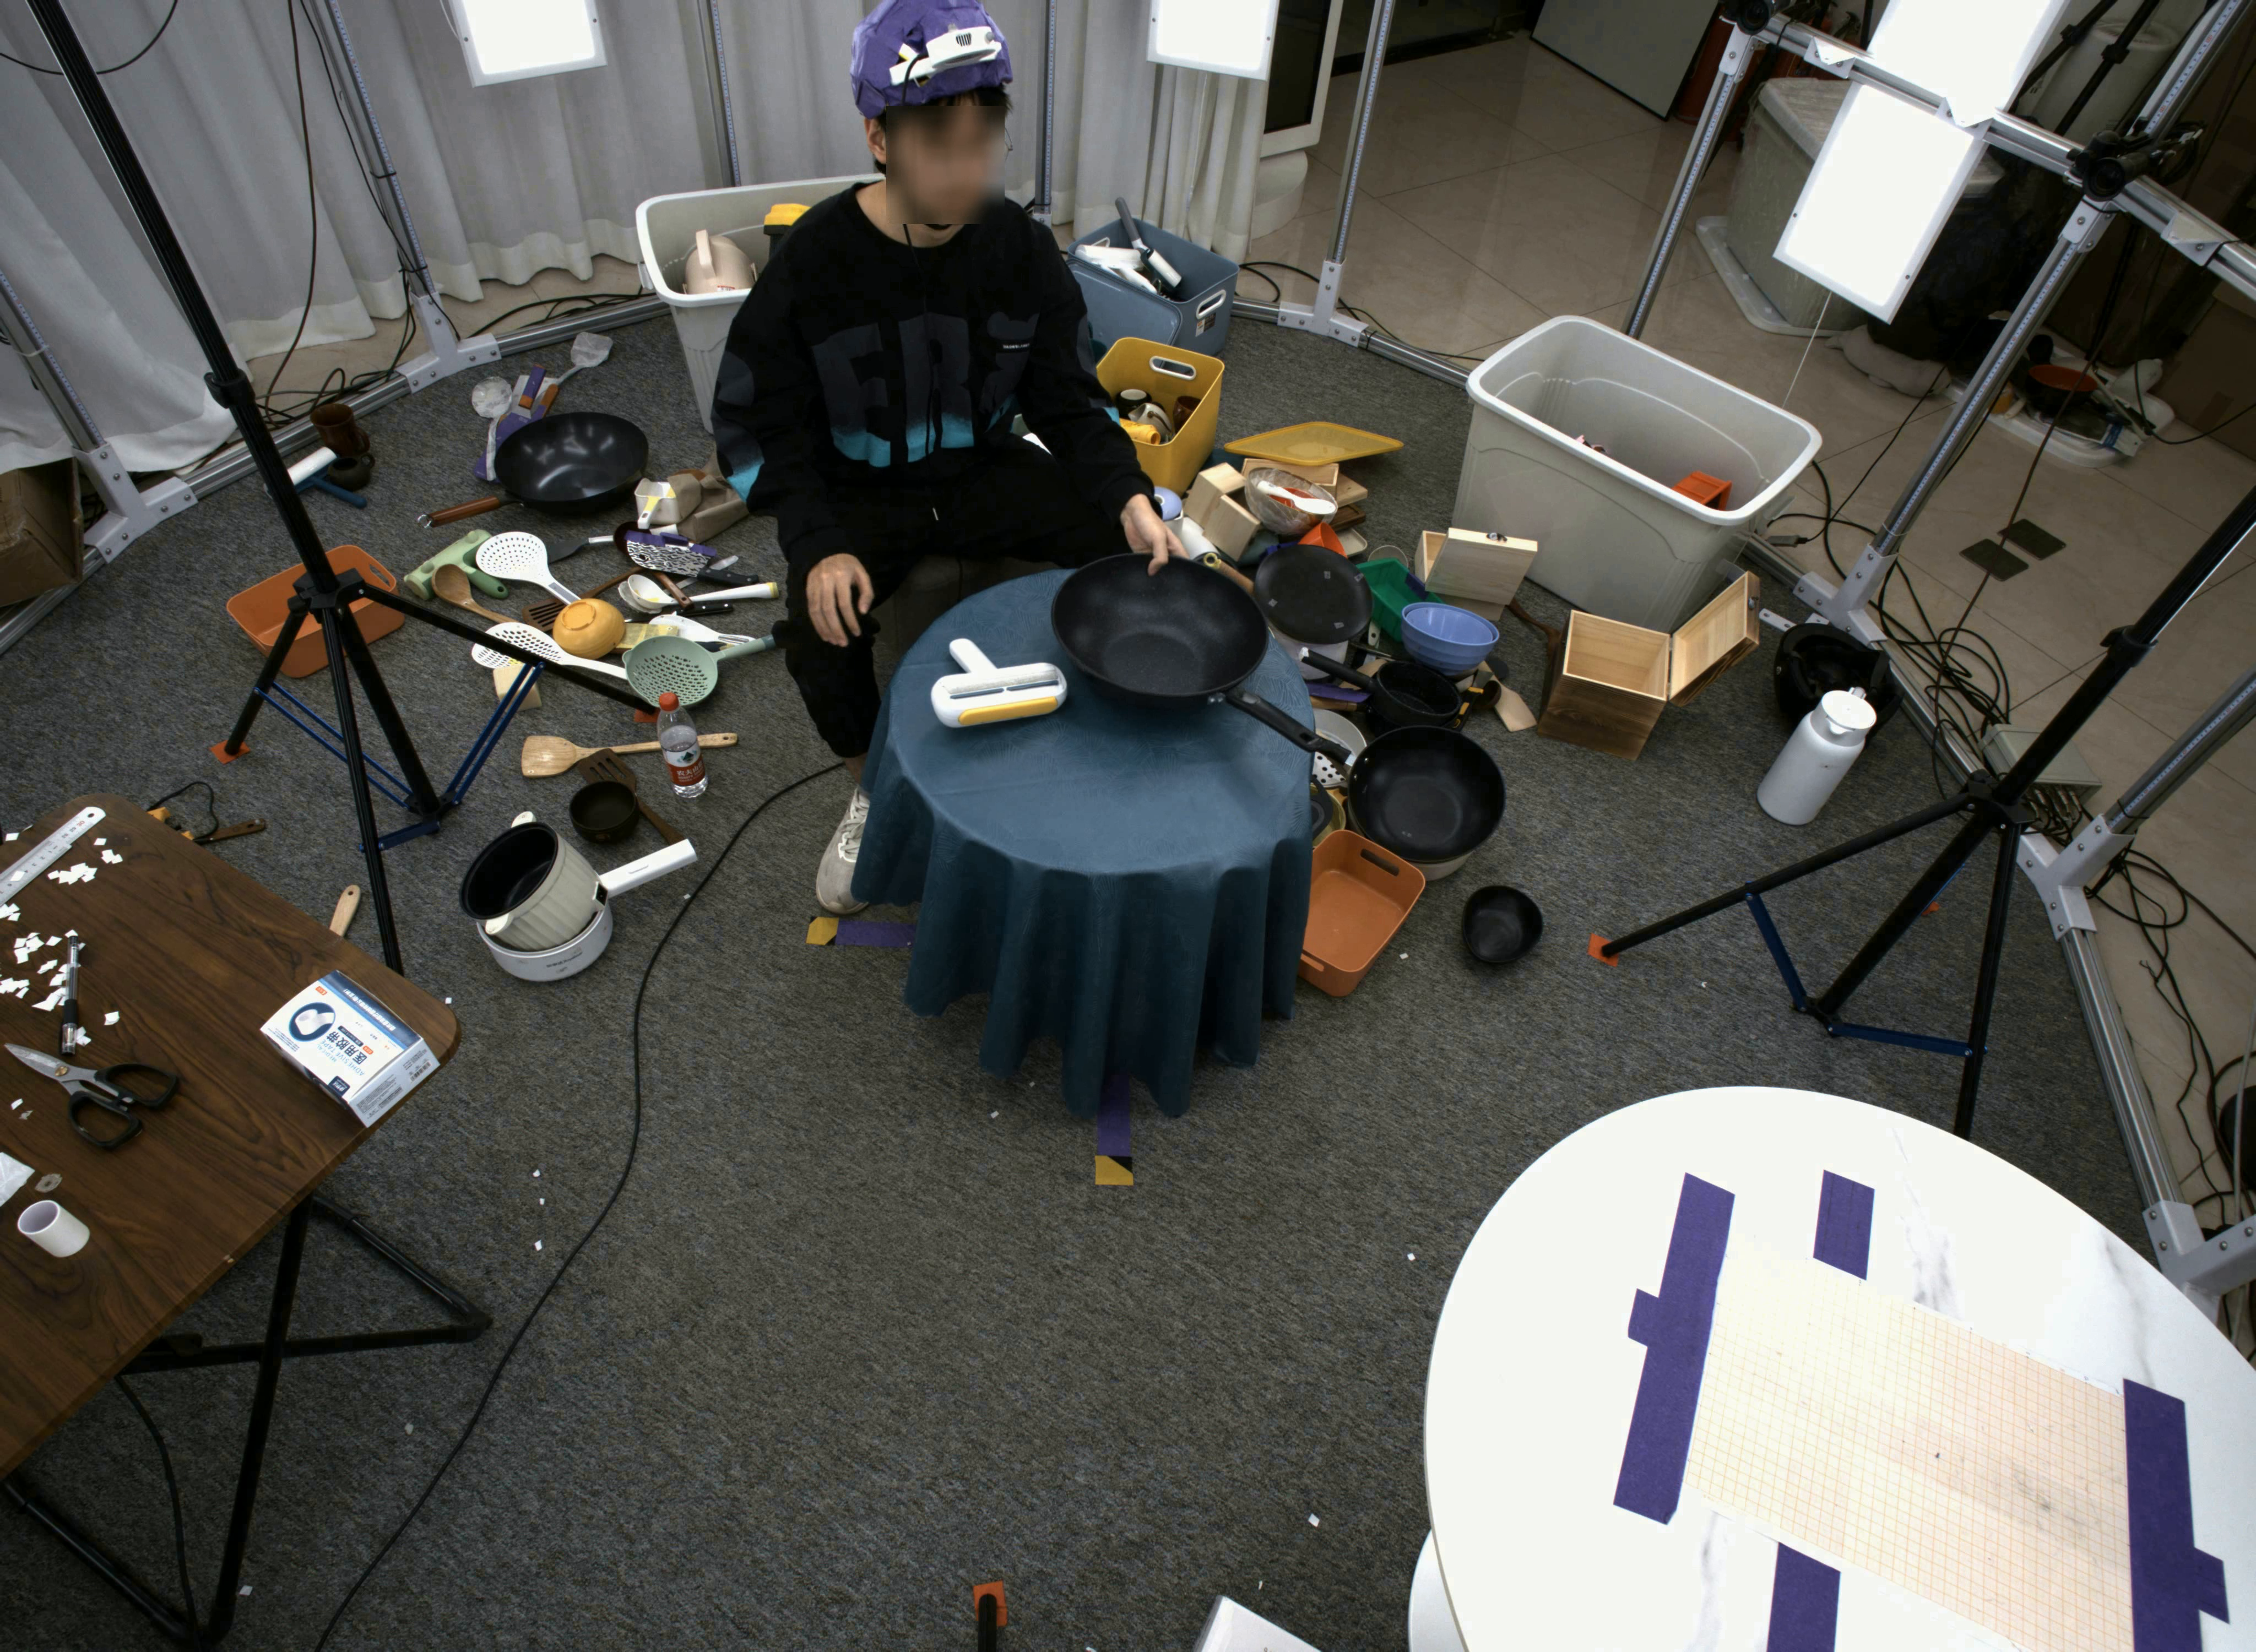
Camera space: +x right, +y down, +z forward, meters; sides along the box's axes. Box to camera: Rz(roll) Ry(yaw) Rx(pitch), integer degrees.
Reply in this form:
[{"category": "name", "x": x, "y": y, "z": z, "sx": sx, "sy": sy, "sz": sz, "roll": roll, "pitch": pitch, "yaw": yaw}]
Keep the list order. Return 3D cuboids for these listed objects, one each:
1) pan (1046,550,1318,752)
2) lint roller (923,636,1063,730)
[{"category": "pan", "x": 0.089, "y": -0.220, "z": 1.791, "sx": 0.312, "sy": 0.109, "sz": 0.485, "roll": -28, "pitch": 56, "yaw": -26}, {"category": "lint roller", "x": -0.204, "y": -0.215, "z": 1.798, "sx": 0.193, "sy": 0.072, "sz": 0.197, "roll": -11, "pitch": 49, "yaw": -20}]
